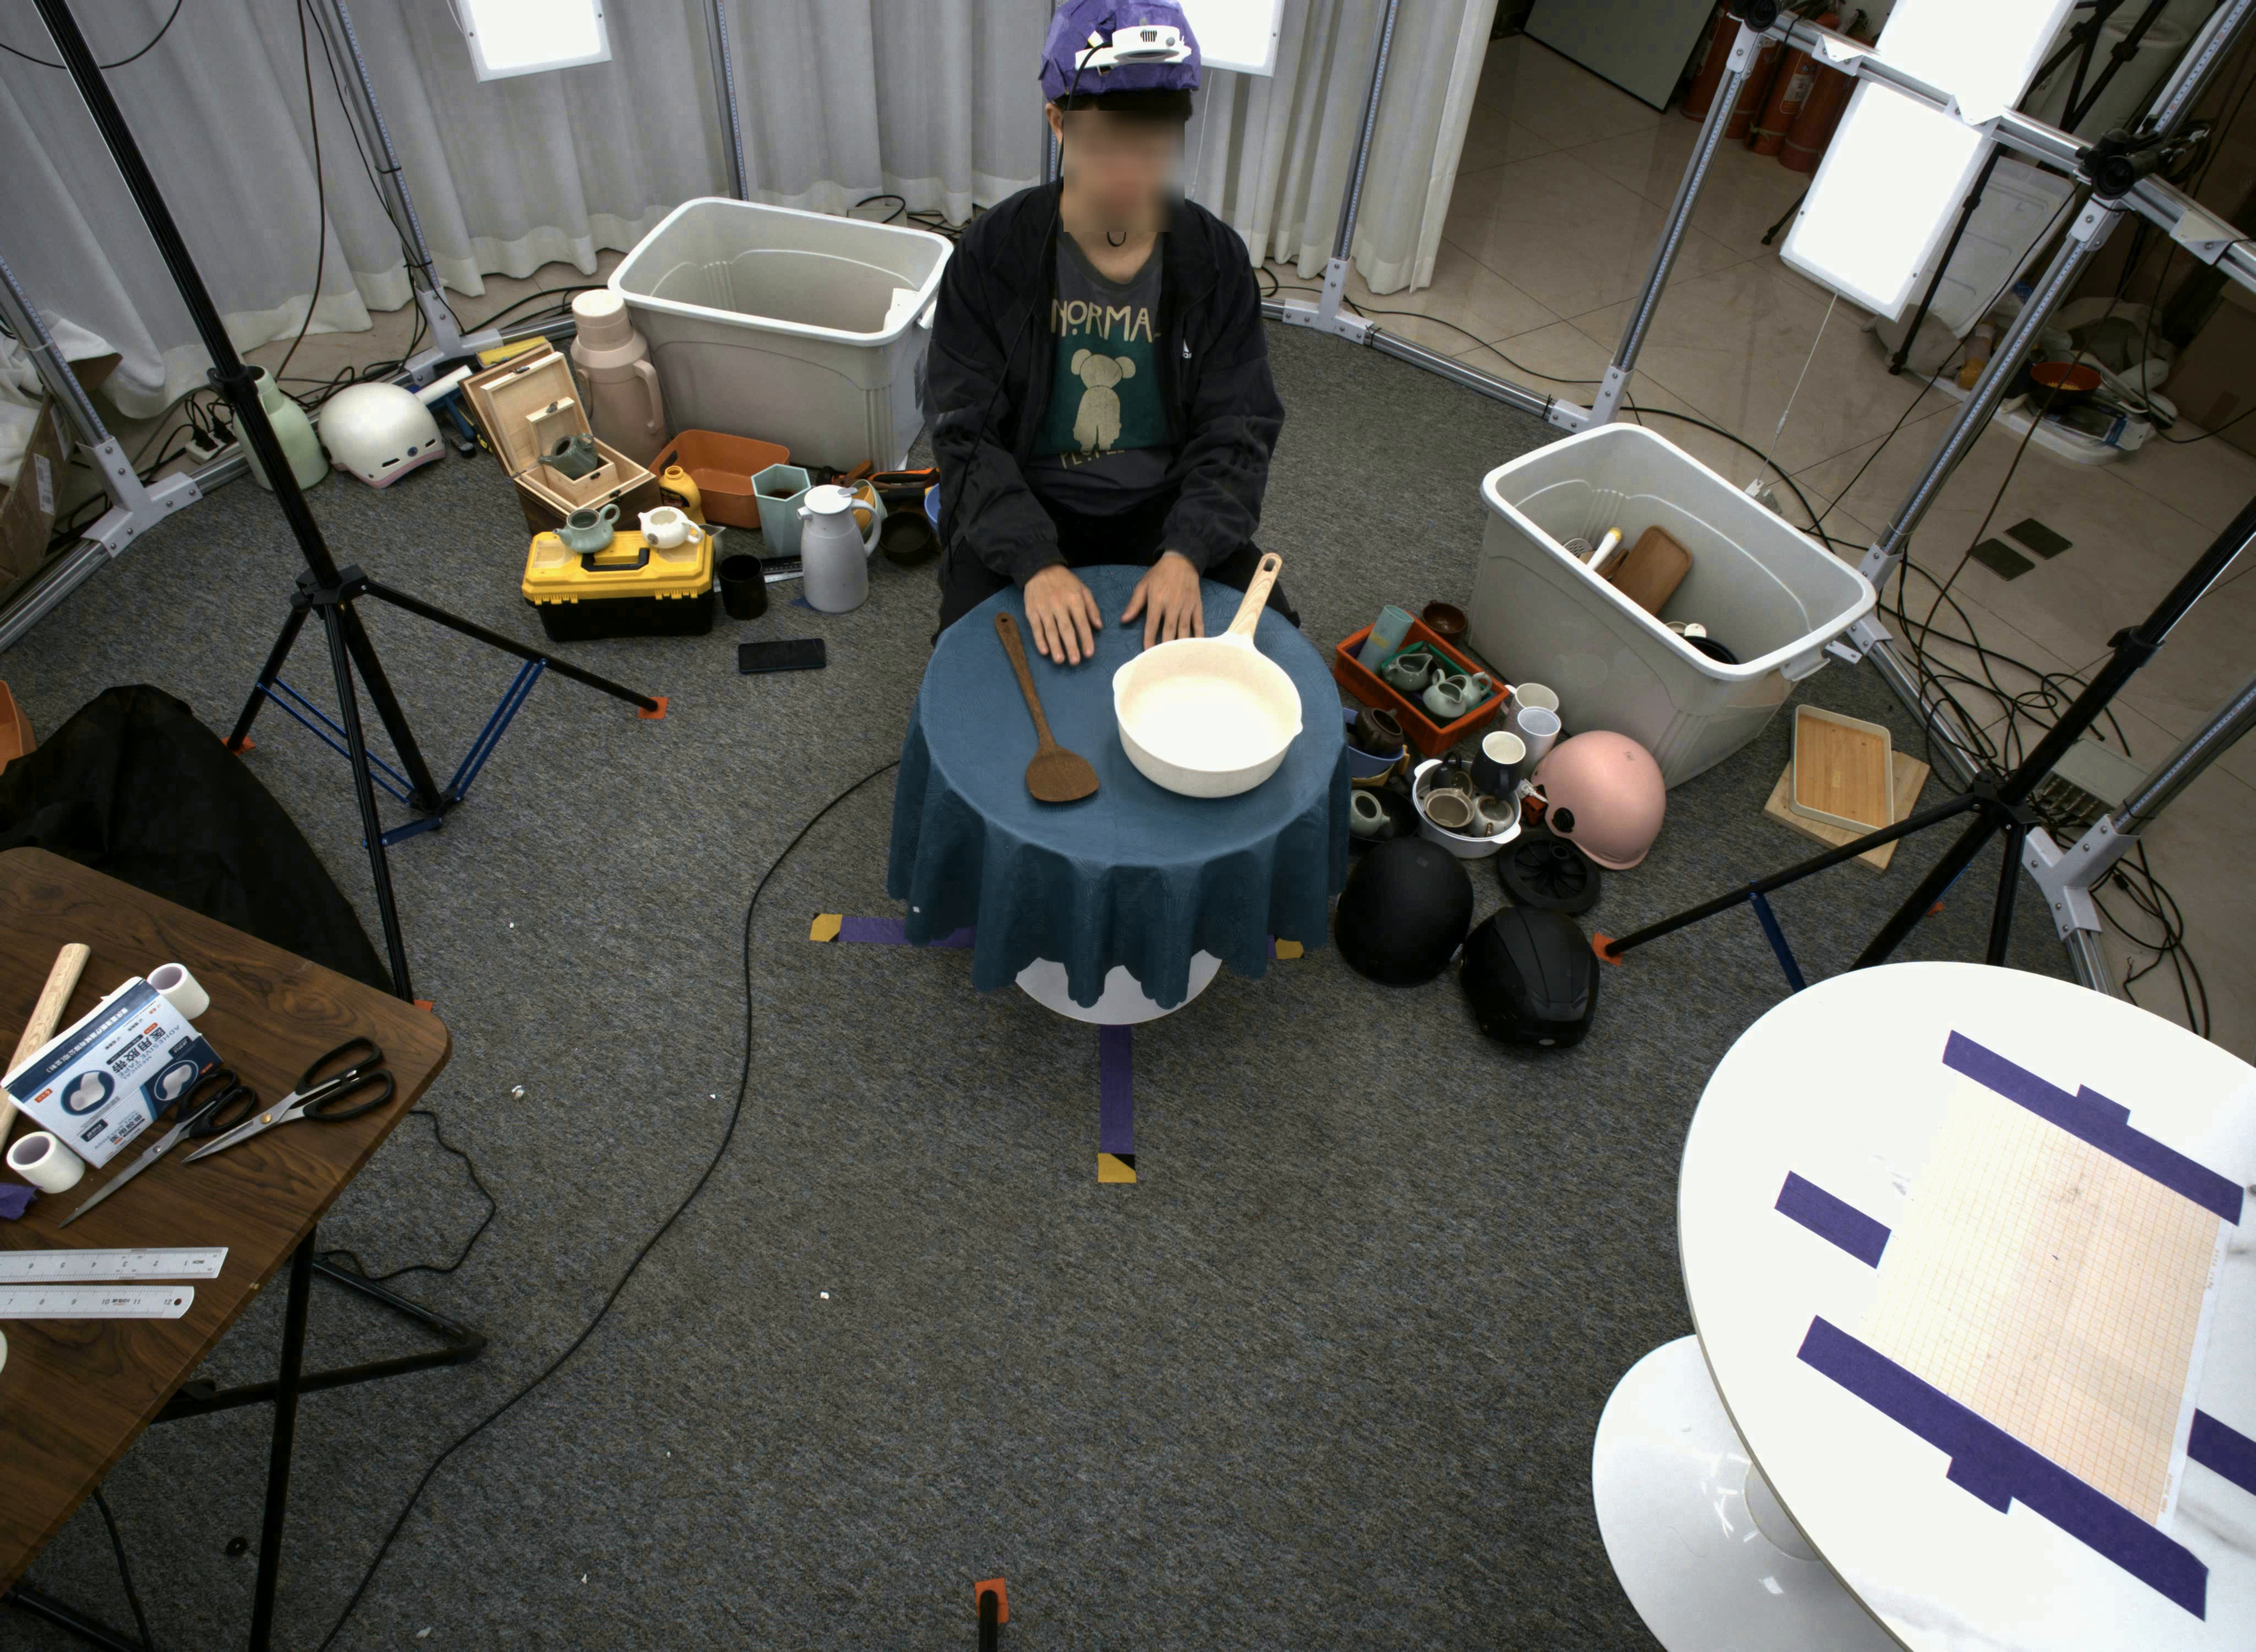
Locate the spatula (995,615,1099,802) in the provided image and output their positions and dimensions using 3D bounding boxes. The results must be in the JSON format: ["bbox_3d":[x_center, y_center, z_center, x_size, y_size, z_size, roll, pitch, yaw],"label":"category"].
[{"bbox_3d":[-0.133,-0.175,1.801,0.096,0.015,0.395,-10,50,-13],"label":"spatula"}]

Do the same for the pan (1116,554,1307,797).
[{"bbox_3d":[0.142,-0.213,1.794,0.264,0.099,0.443,16,50,12],"label":"pan"}]
